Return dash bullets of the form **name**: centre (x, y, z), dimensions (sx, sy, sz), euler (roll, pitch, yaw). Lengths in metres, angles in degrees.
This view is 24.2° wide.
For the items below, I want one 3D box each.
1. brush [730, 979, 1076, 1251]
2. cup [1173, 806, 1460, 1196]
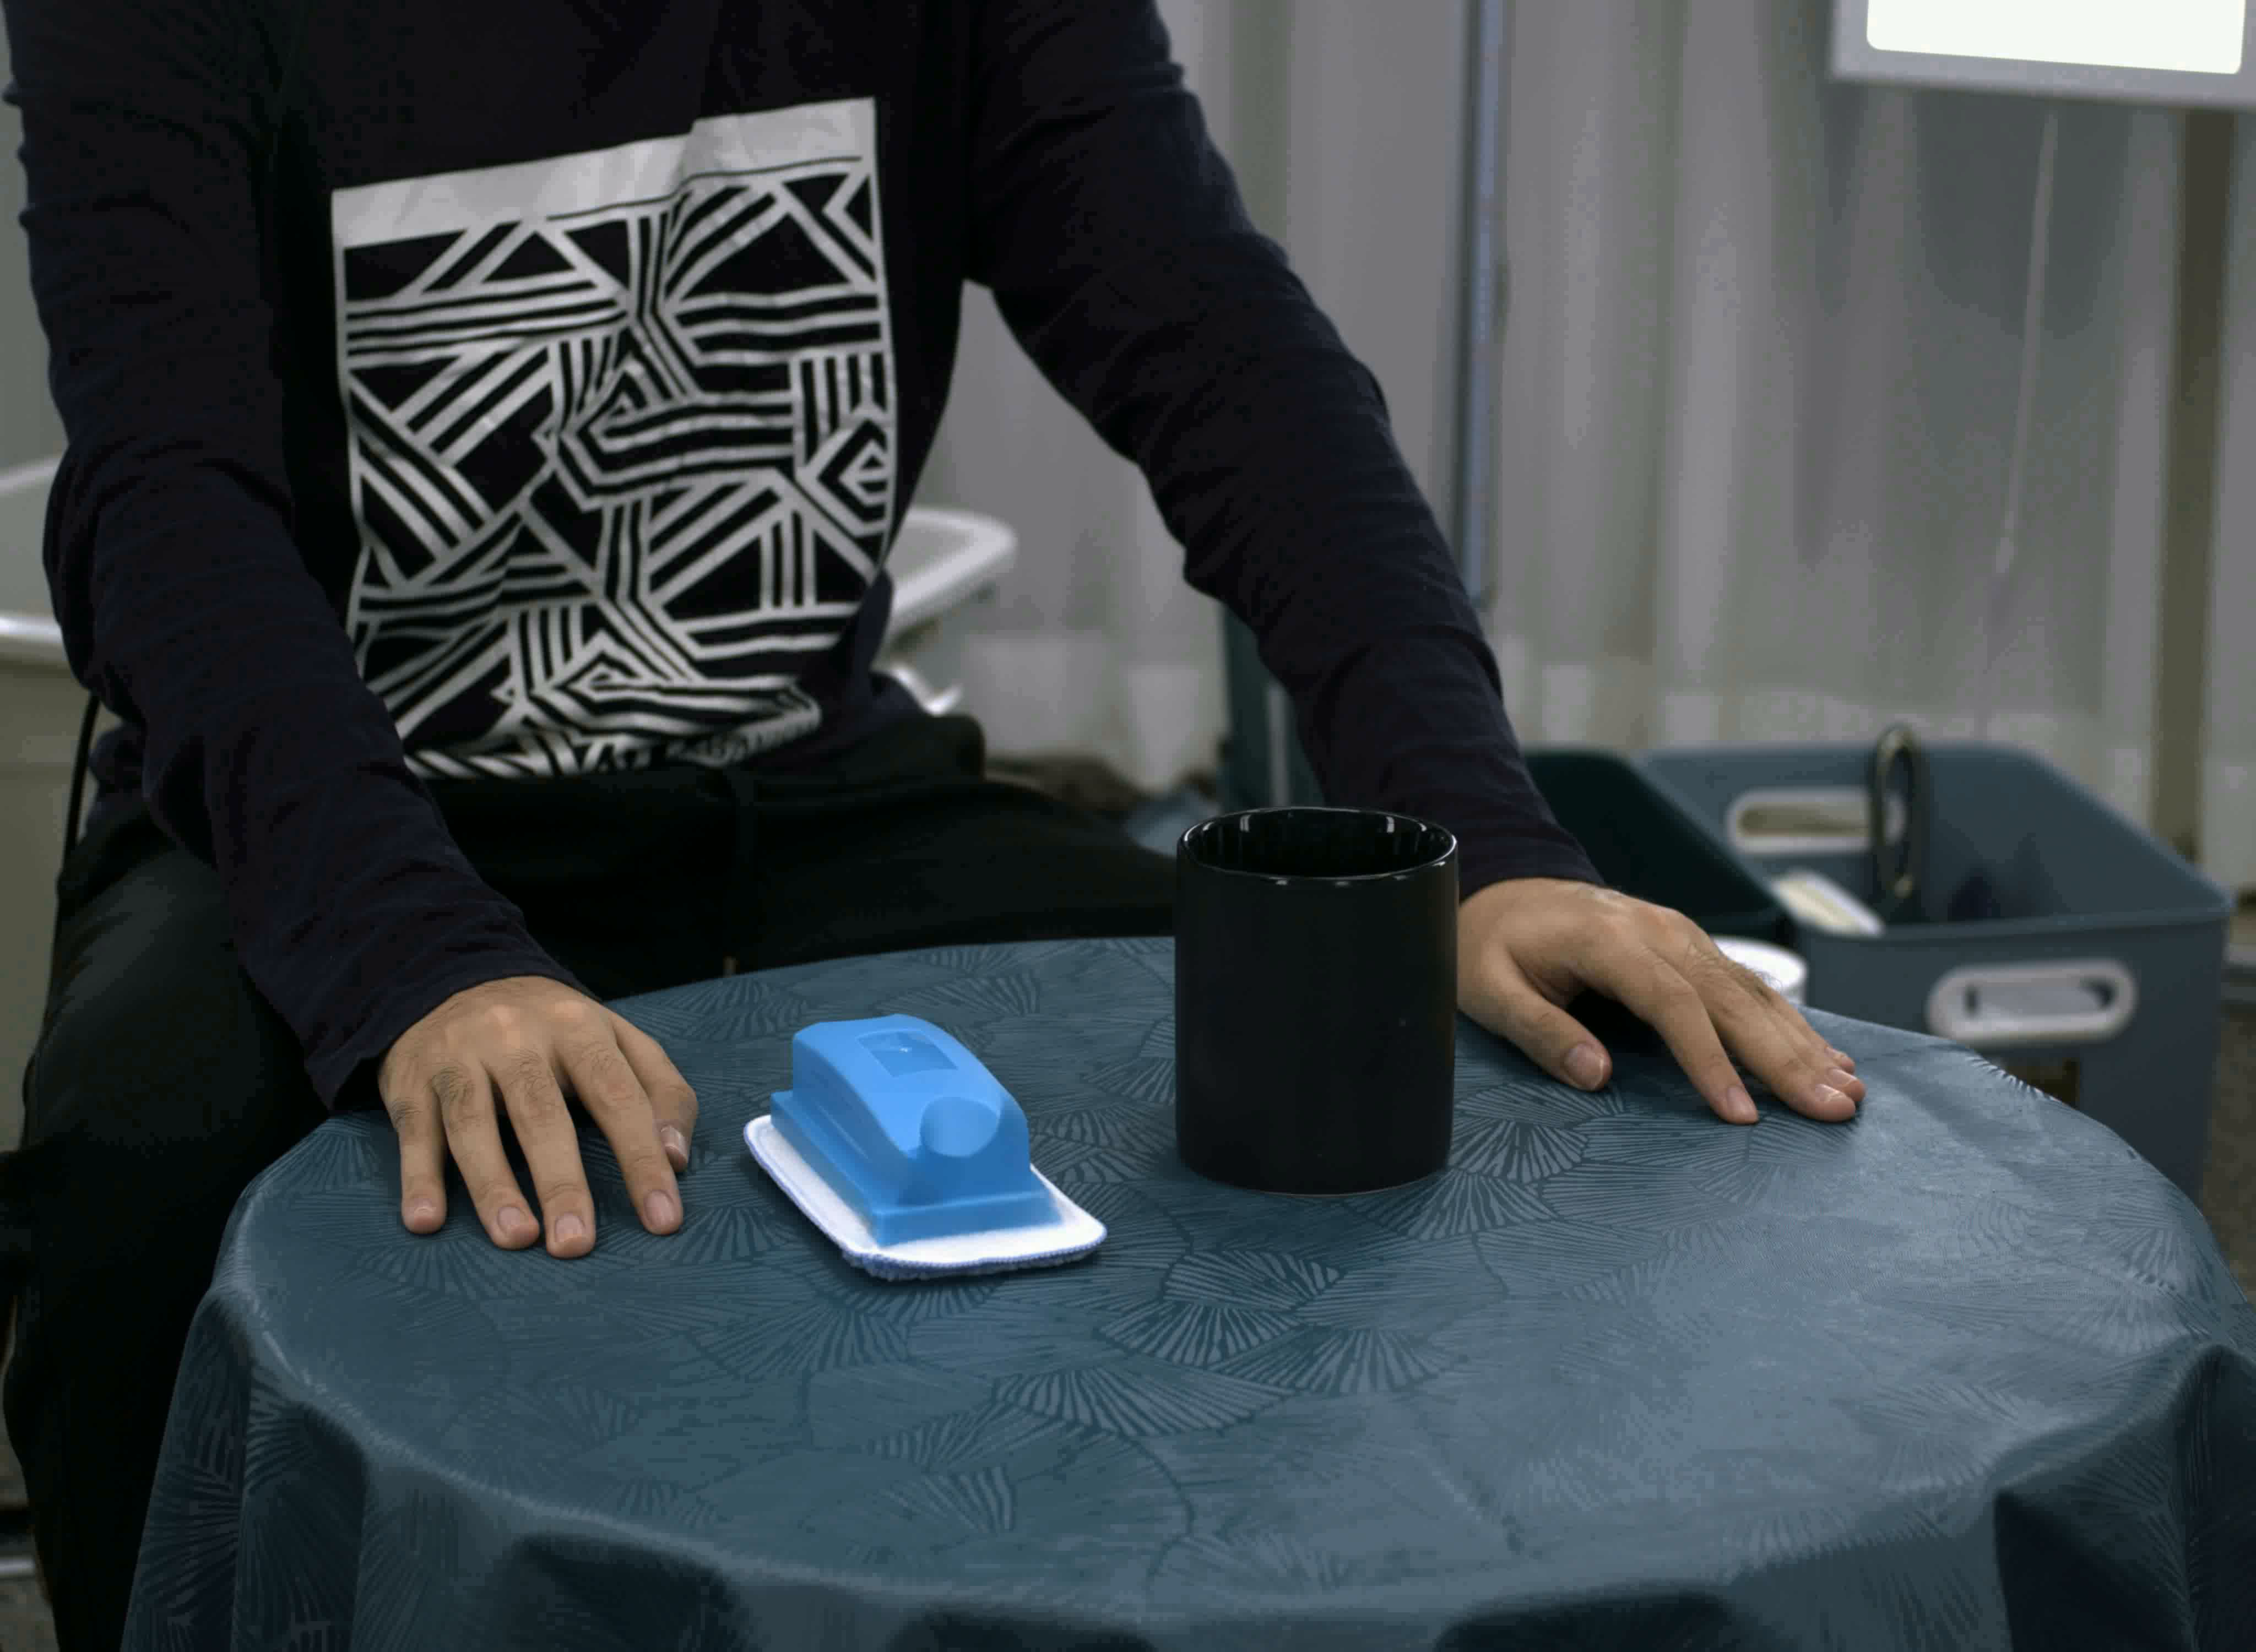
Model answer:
- **brush**: centre (-0.068, 0.085, 1.606), dimensions (0.084, 0.056, 0.142), euler (-1, 18, -18)
- **cup**: centre (0.052, 0.050, 1.663), dimensions (0.089, 0.106, 0.122), euler (-9, 16, -23)
